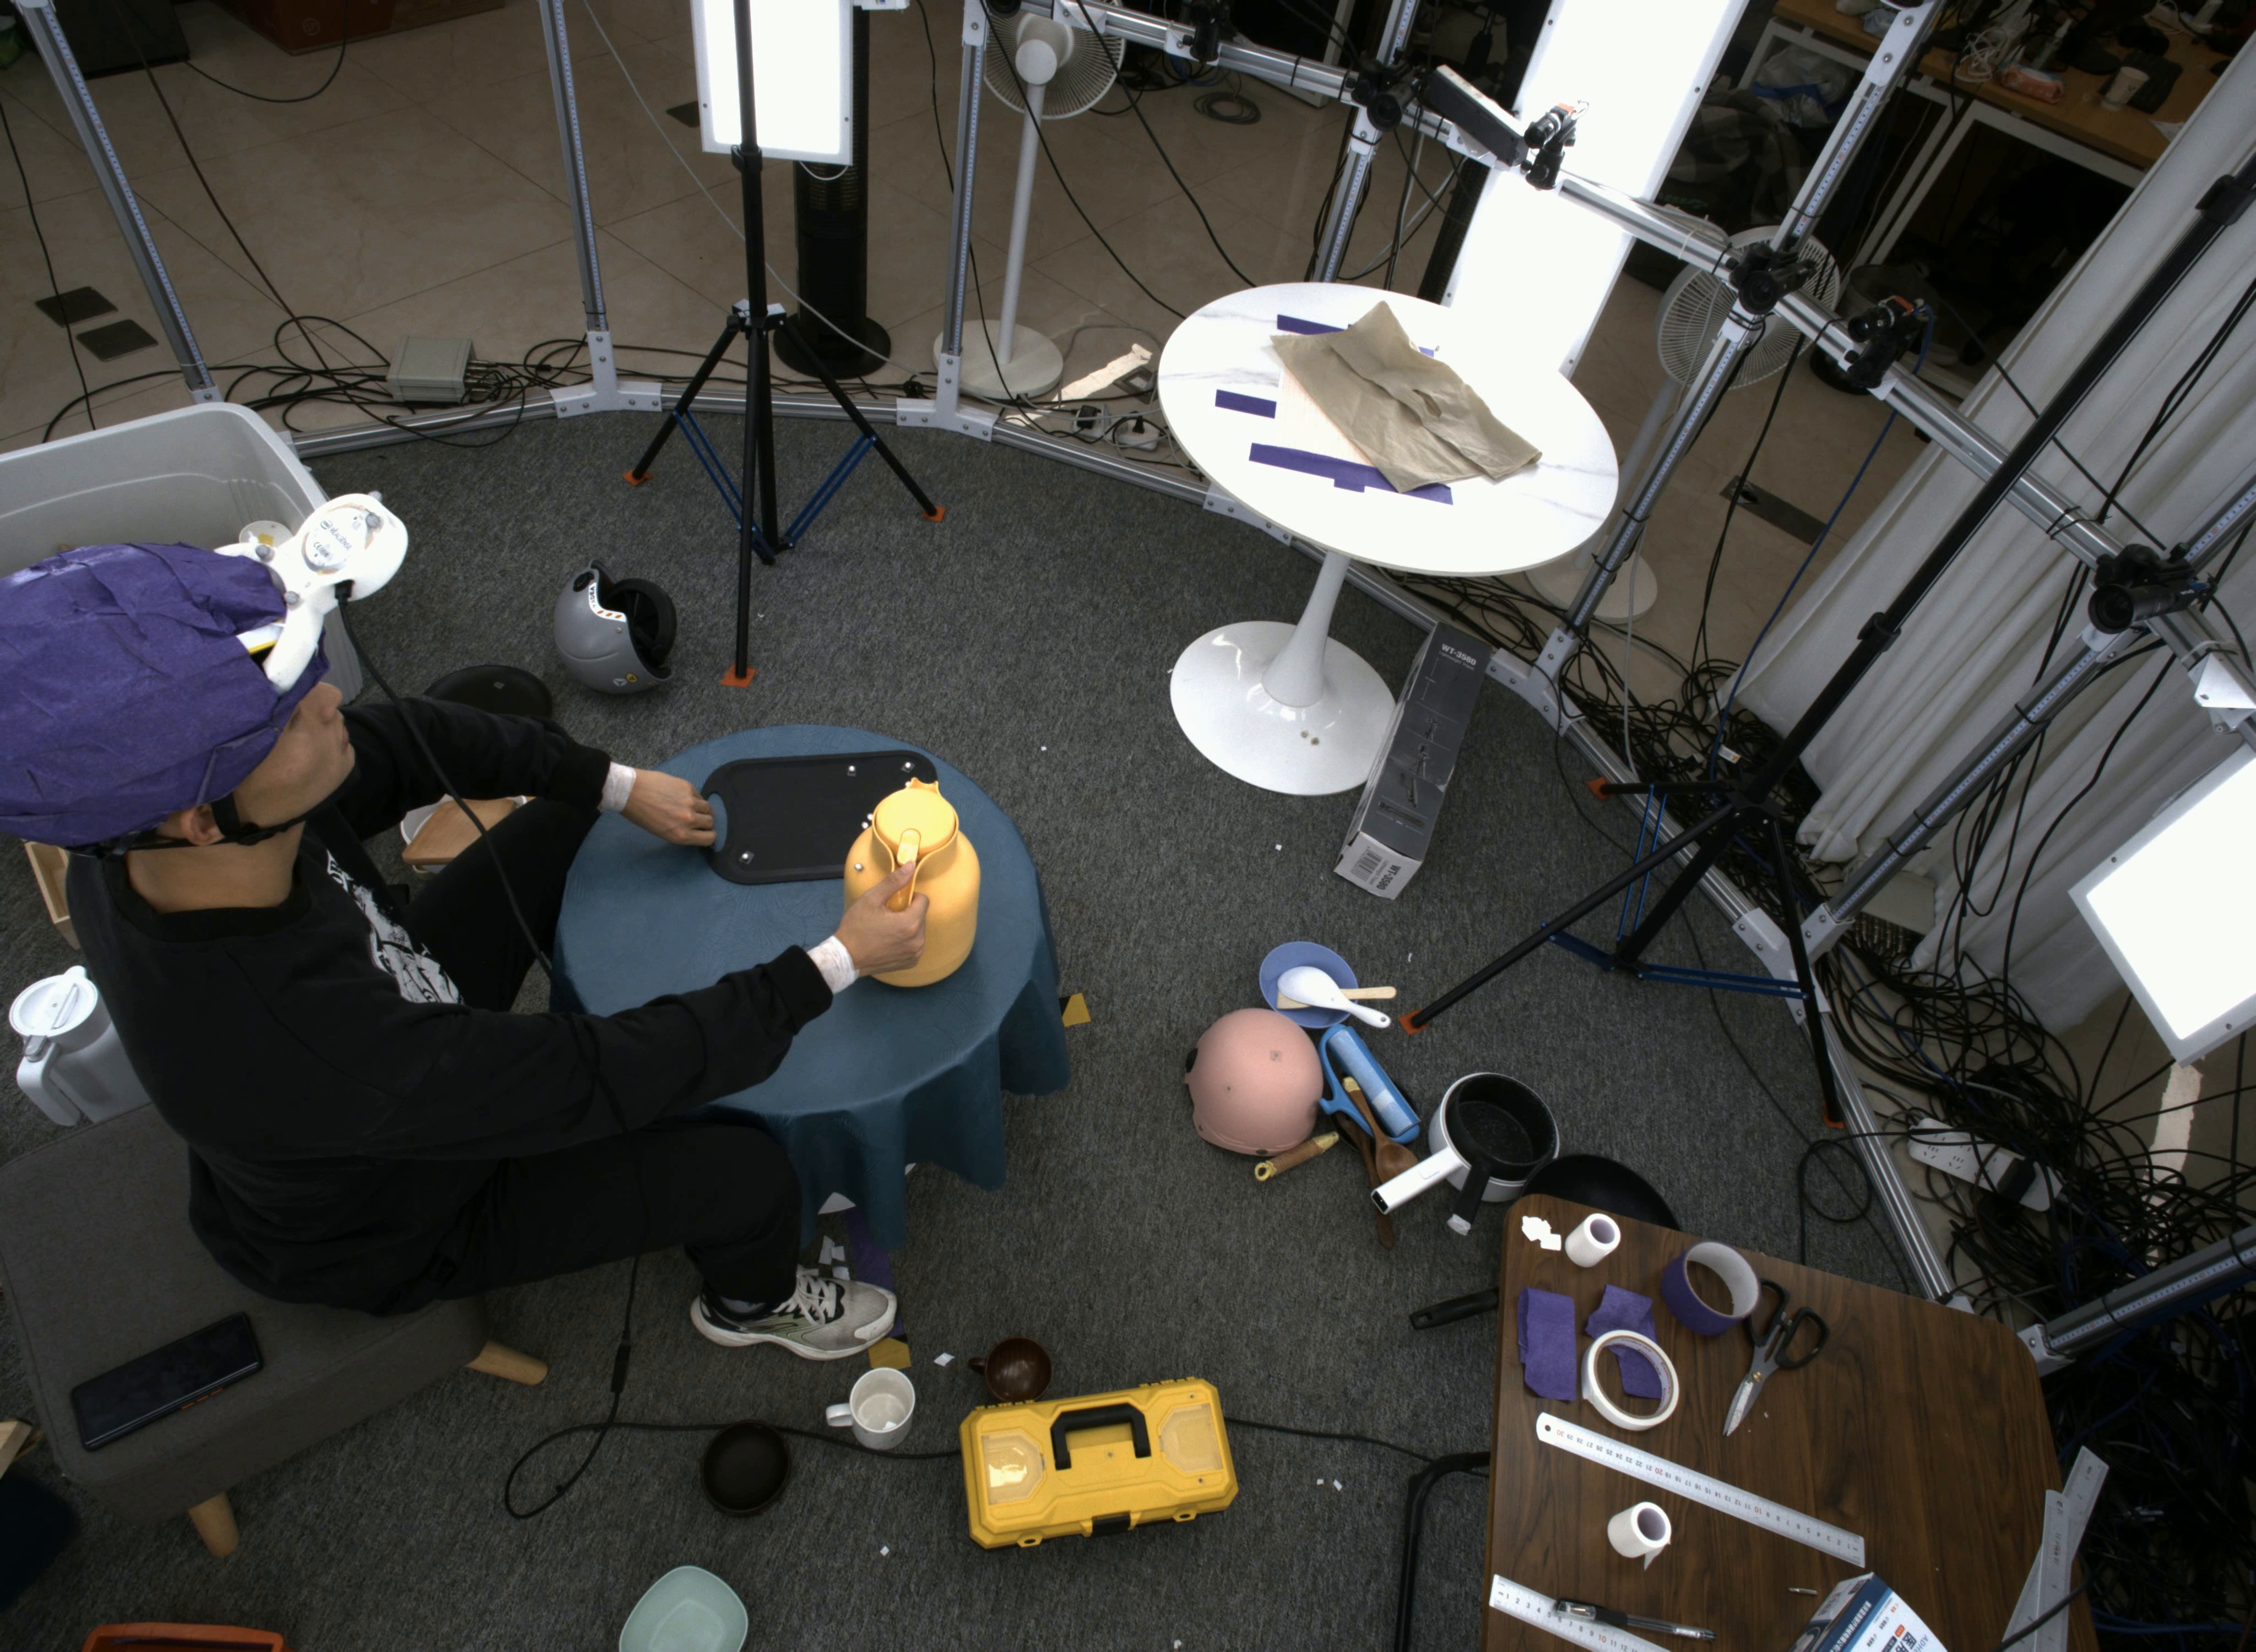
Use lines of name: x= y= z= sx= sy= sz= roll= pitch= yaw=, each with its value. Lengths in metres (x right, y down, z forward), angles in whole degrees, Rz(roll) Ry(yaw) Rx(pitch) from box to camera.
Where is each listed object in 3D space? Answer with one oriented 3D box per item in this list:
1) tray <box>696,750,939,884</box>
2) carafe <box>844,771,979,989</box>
tray: x=-0.410 y=-0.017 z=1.733 sx=0.326 sy=0.010 sz=0.206 roll=-4 pitch=55 yaw=-17
carafe: x=-0.260 y=0.077 z=1.534 sx=0.162 sy=0.267 sz=0.199 roll=9 pitch=48 yaw=-1
